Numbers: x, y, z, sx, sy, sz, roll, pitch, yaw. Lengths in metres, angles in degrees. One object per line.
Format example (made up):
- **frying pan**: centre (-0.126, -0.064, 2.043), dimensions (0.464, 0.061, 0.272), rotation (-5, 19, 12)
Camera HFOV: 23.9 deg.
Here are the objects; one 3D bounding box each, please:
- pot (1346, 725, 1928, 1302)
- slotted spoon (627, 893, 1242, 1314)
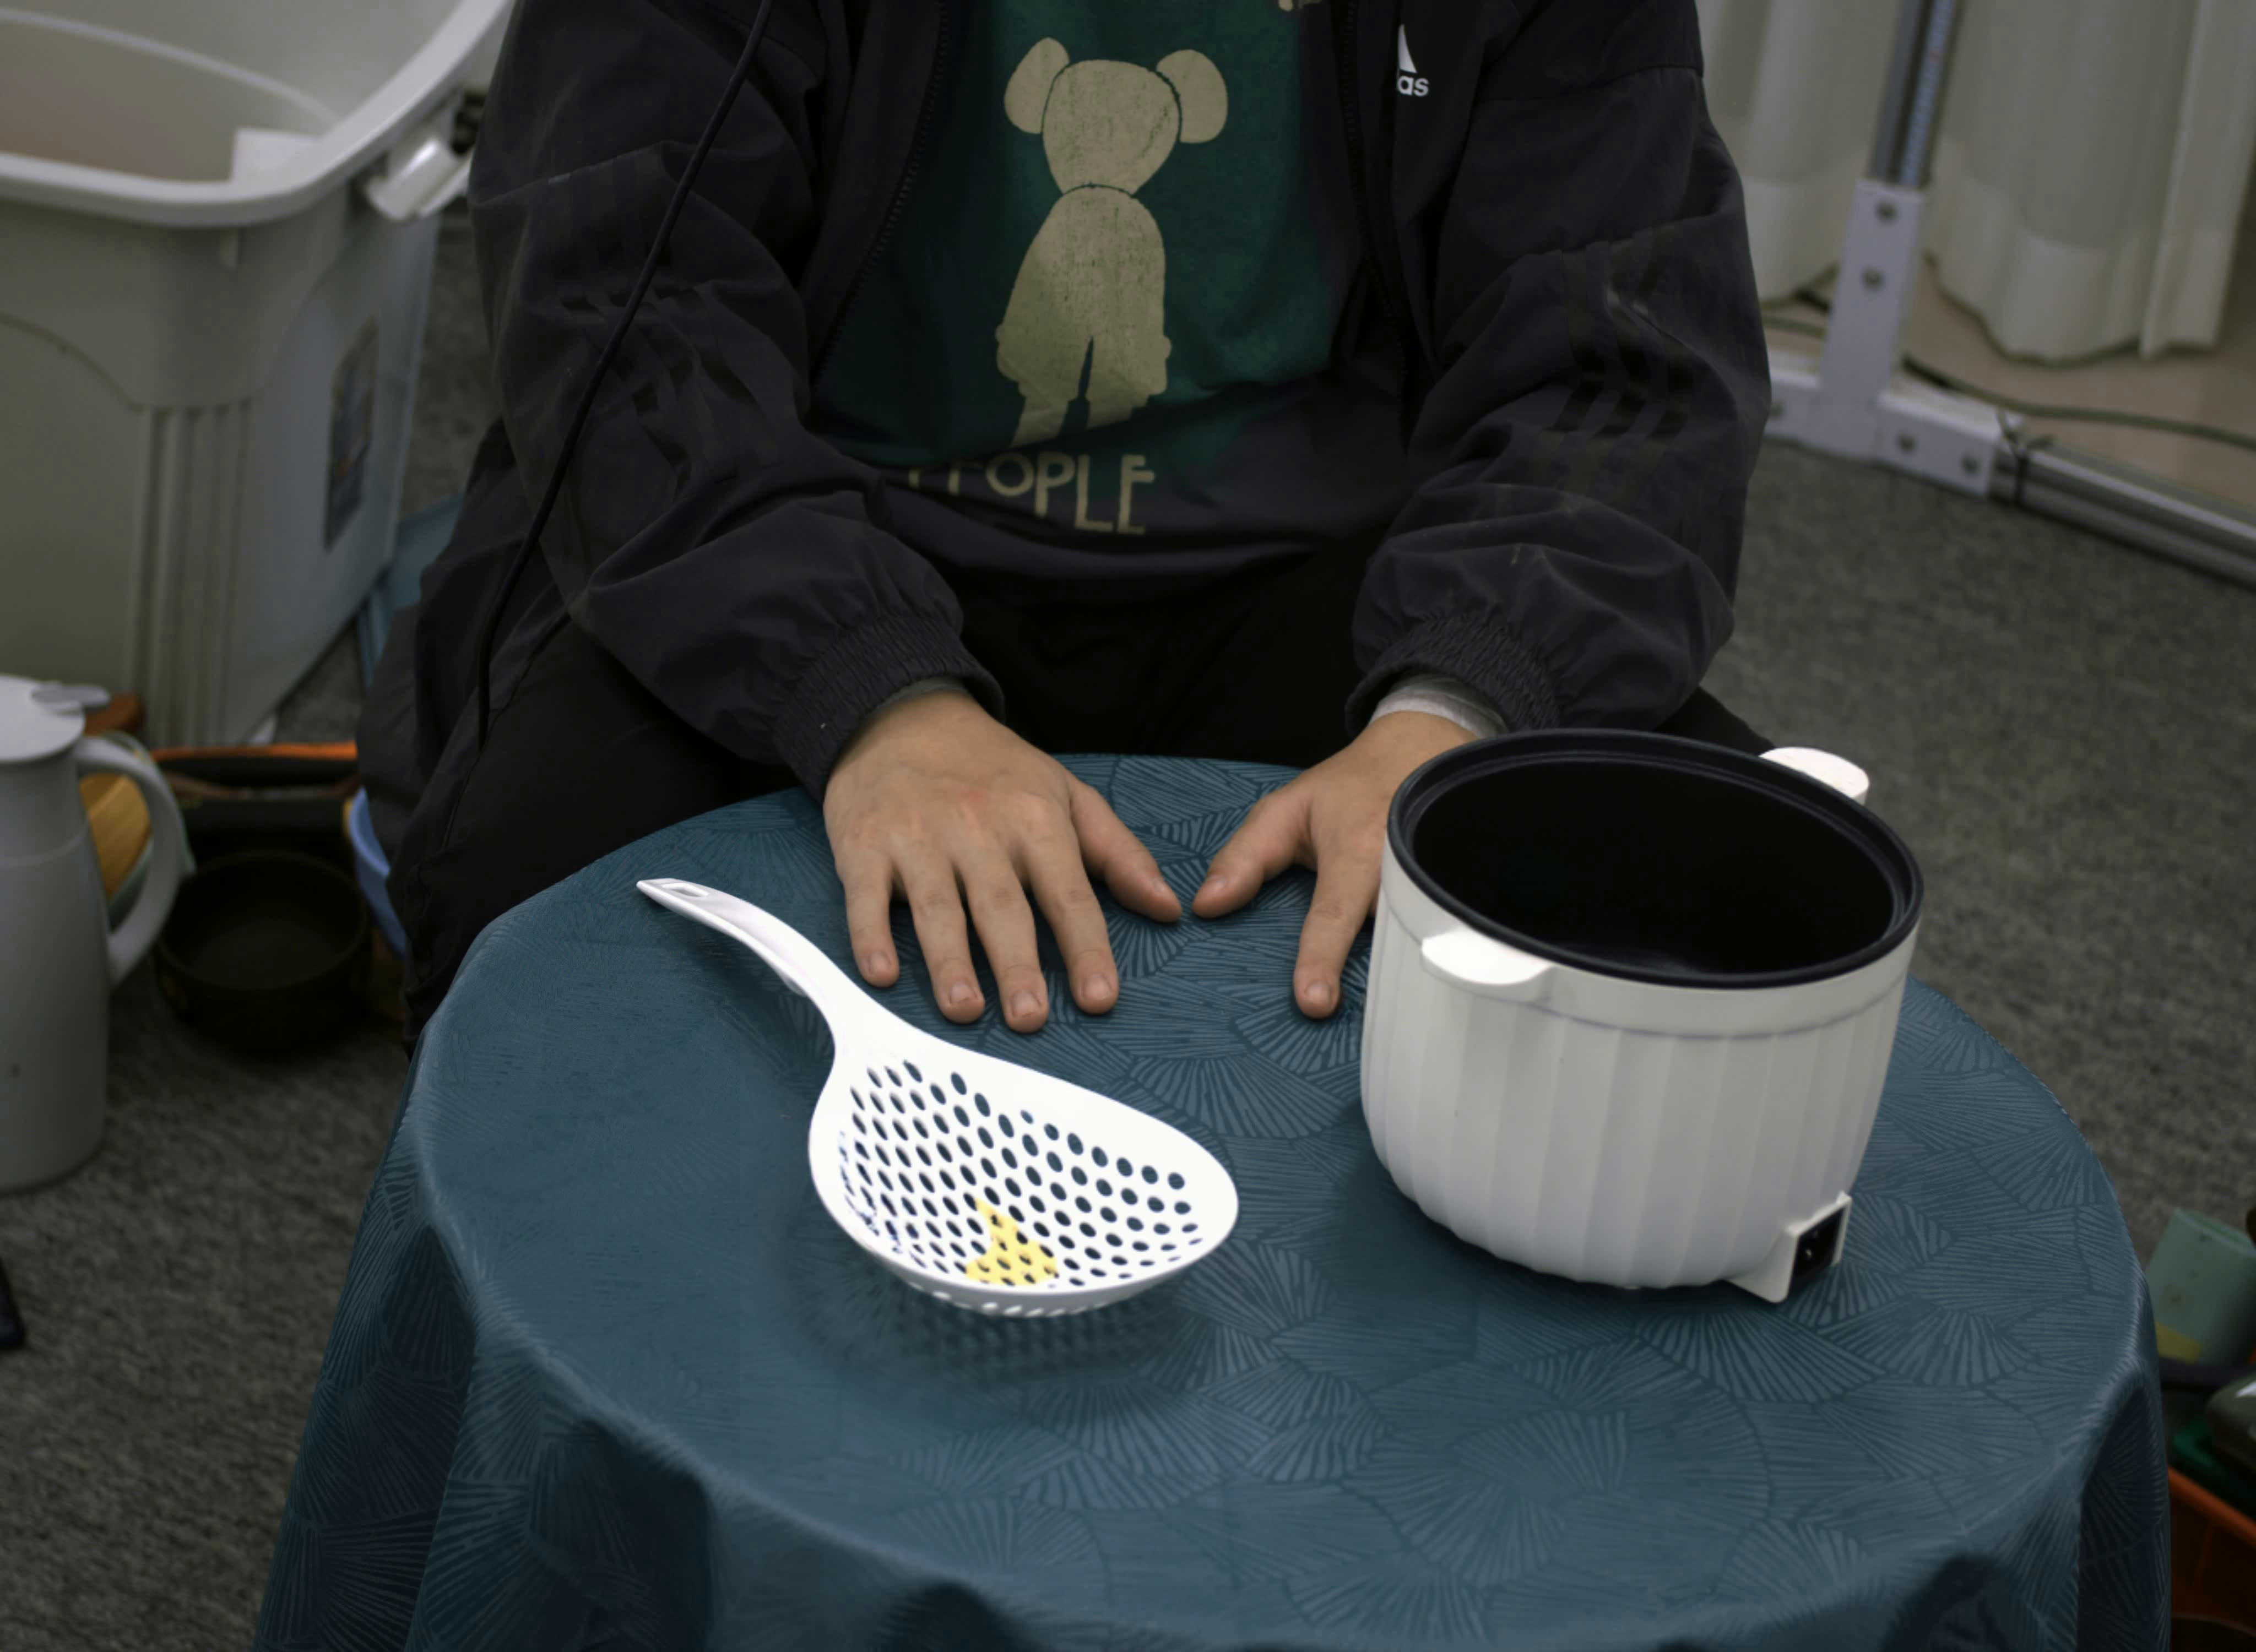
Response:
- **pot**: centre (0.164, 0.065, 1.806), dimensions (0.192, 0.142, 0.239), rotation (27, 32, 30)
- **slotted spoon**: centre (-0.087, 0.082, 1.821), dimensions (0.136, 0.050, 0.351), rotation (-10, 32, -27)
